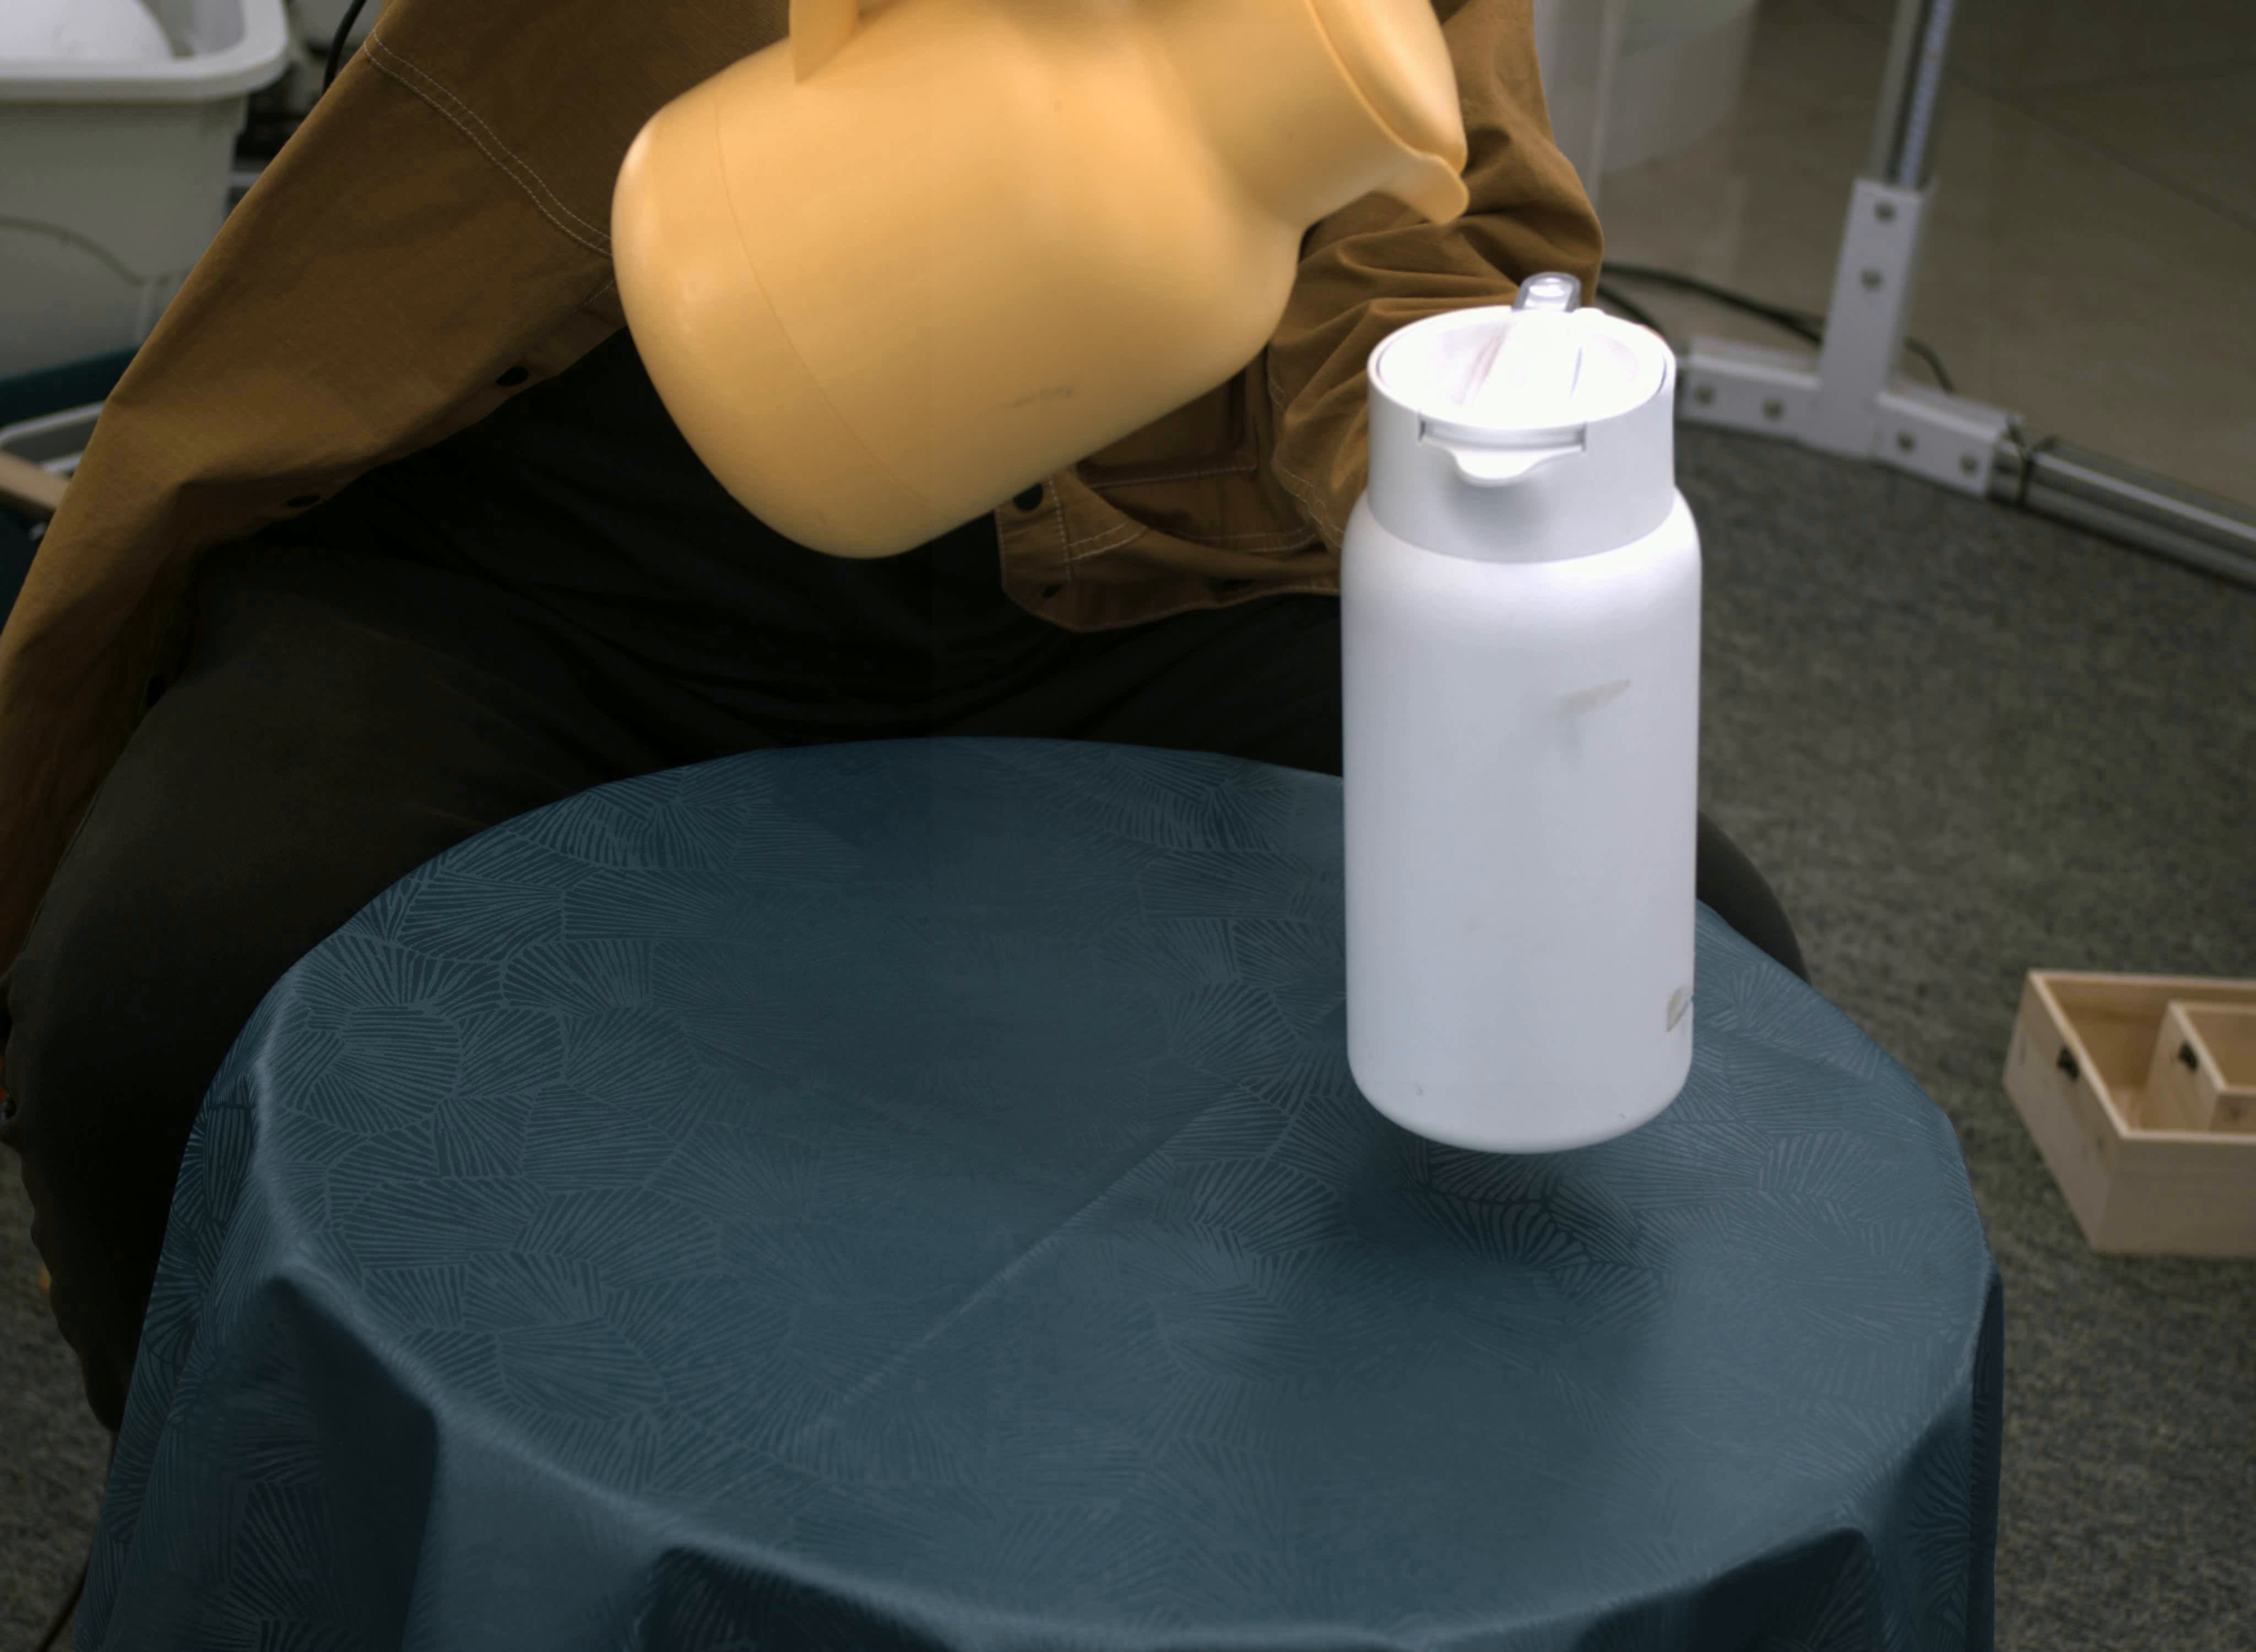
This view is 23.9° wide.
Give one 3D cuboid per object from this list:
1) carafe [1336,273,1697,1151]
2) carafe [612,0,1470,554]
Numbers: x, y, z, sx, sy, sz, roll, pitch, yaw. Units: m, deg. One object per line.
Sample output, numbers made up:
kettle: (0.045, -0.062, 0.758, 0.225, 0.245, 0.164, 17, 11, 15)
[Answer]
carafe: (0.130, -0.041, 1.765, 0.124, 0.268, 0.173, 2, 27, 12)
carafe: (-0.034, -0.217, 1.664, 0.260, 0.201, 0.164, -27, 30, 18)
